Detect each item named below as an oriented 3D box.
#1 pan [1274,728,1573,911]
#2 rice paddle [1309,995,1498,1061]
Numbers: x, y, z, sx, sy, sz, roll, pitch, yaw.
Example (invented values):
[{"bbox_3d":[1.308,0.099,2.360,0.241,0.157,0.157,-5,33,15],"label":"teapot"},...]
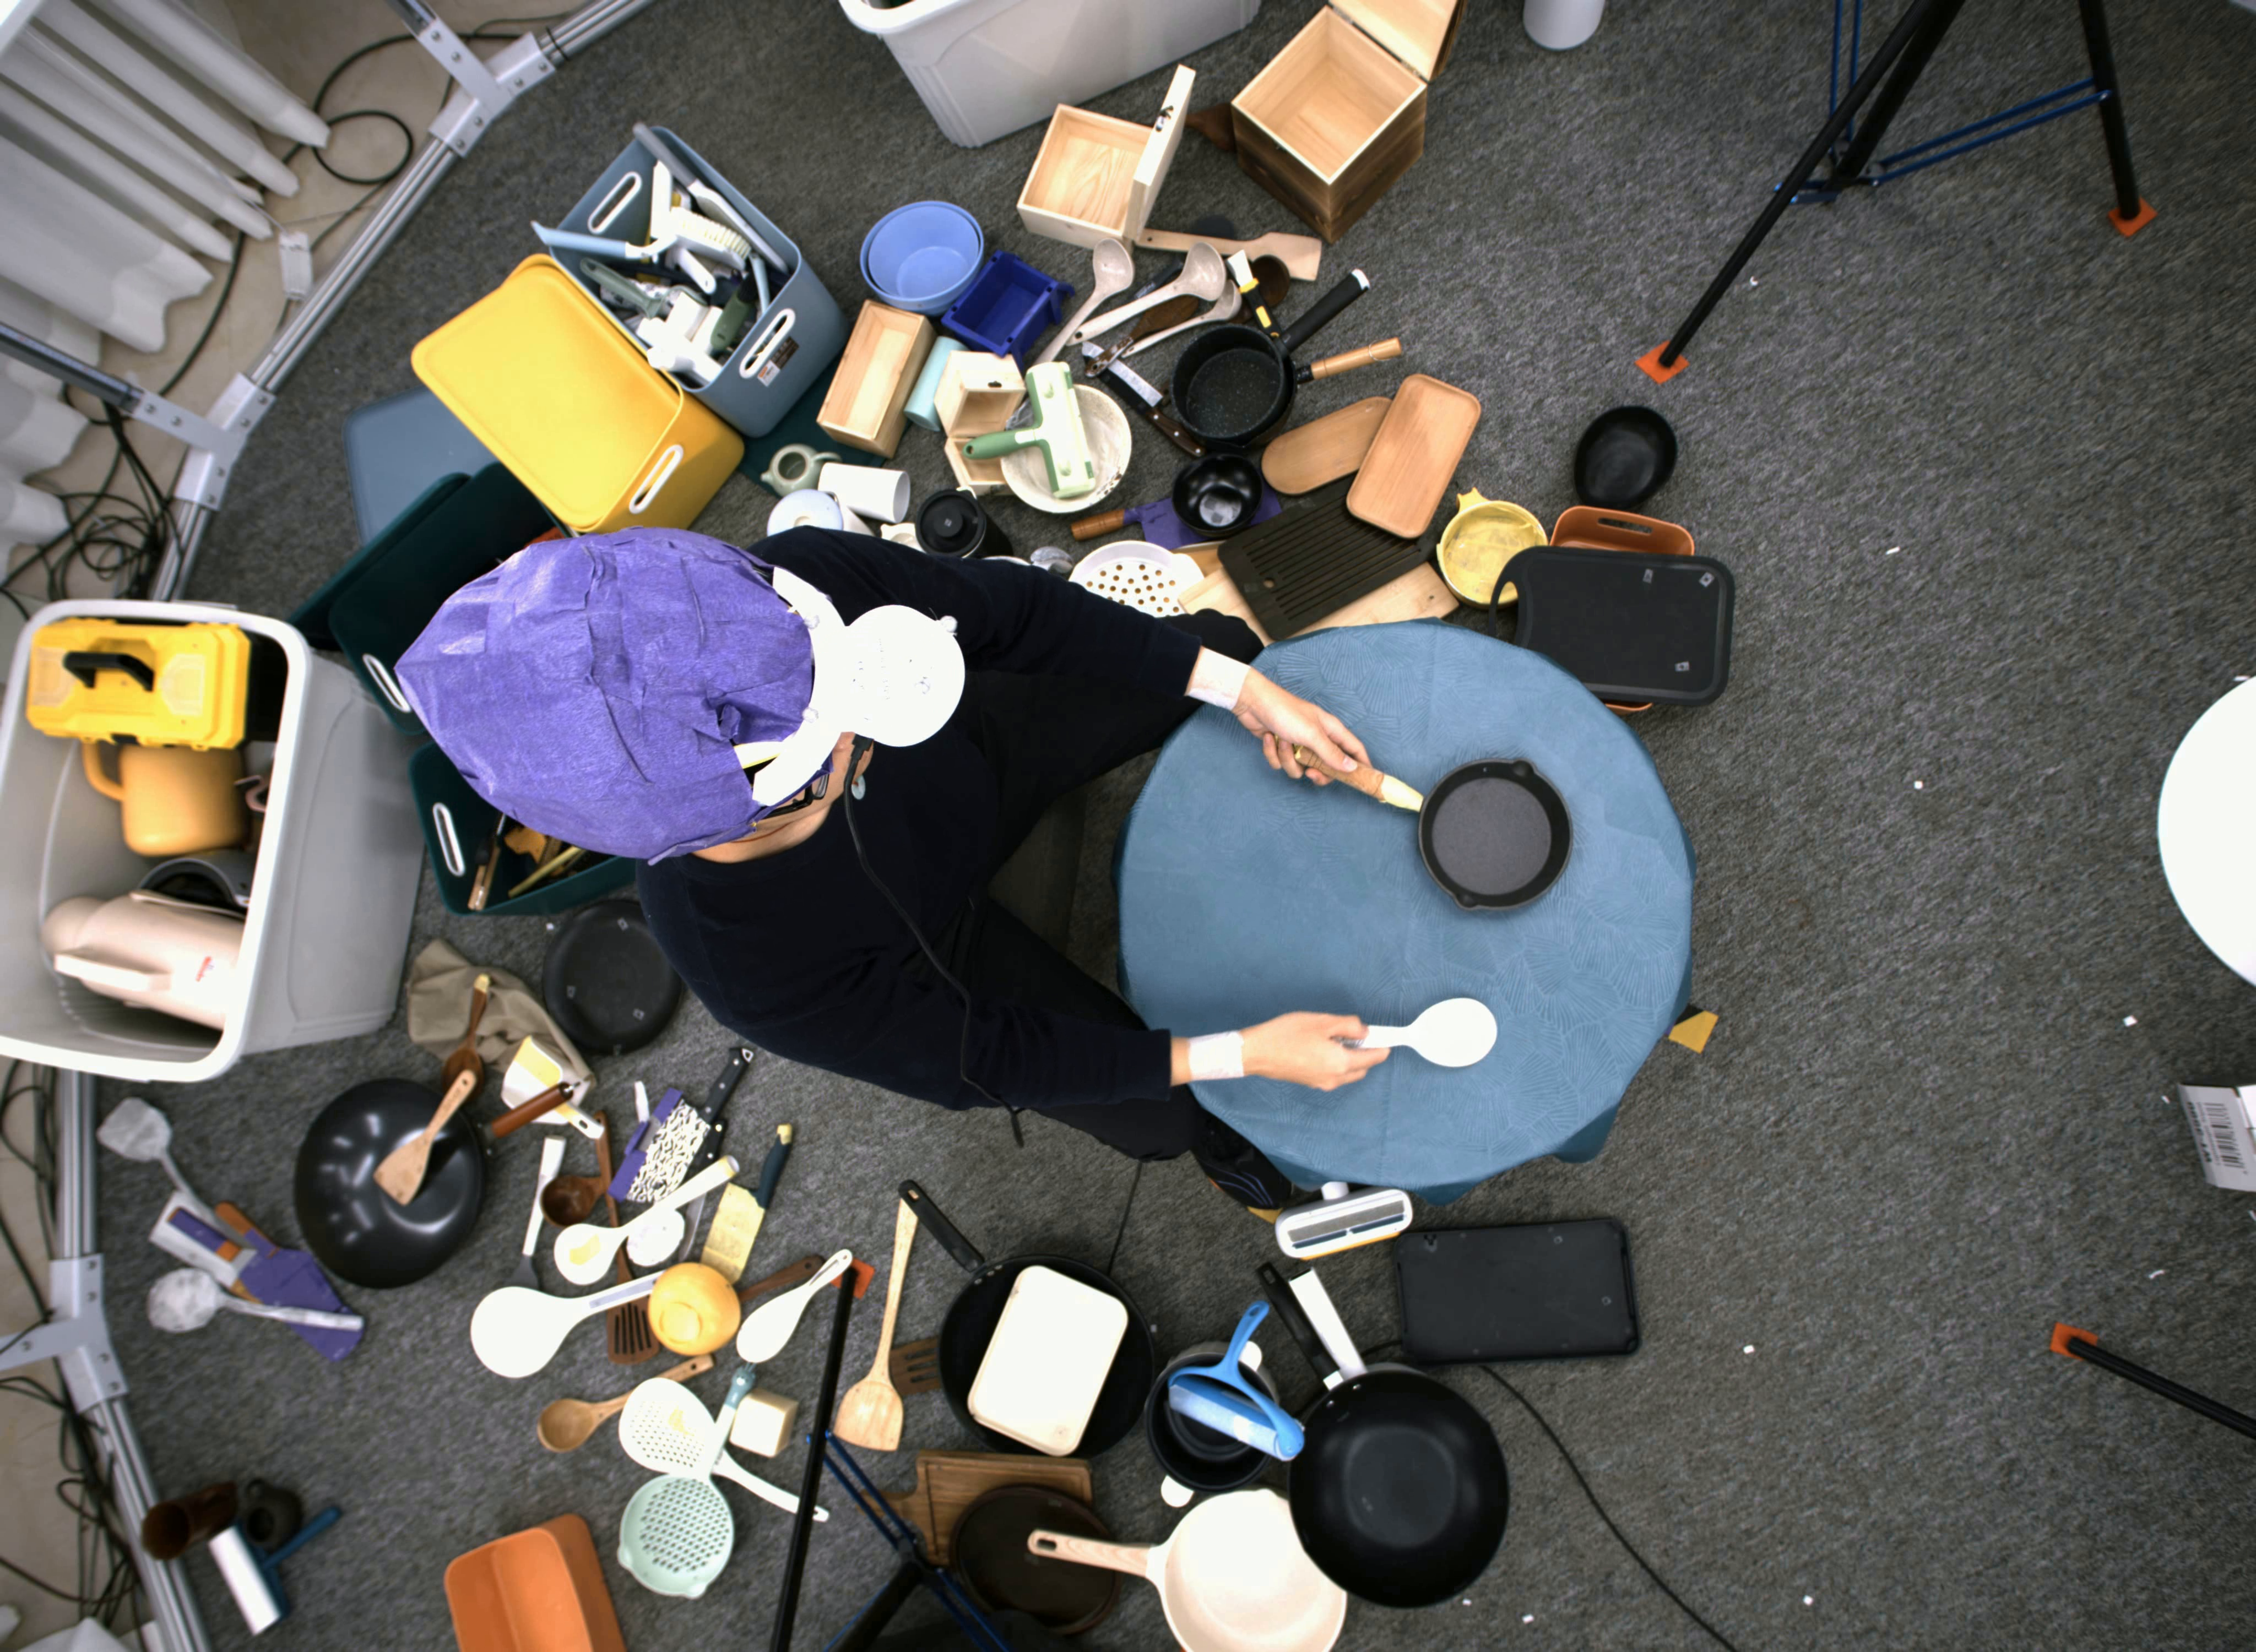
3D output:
[{"bbox_3d":[0.301,-0.029,1.427,0.324,0.049,0.169,26,91,7],"label":"pan"},{"bbox_3d":[0.285,0.207,1.404,0.205,0.029,0.069,-2,93,-13],"label":"rice paddle"}]
